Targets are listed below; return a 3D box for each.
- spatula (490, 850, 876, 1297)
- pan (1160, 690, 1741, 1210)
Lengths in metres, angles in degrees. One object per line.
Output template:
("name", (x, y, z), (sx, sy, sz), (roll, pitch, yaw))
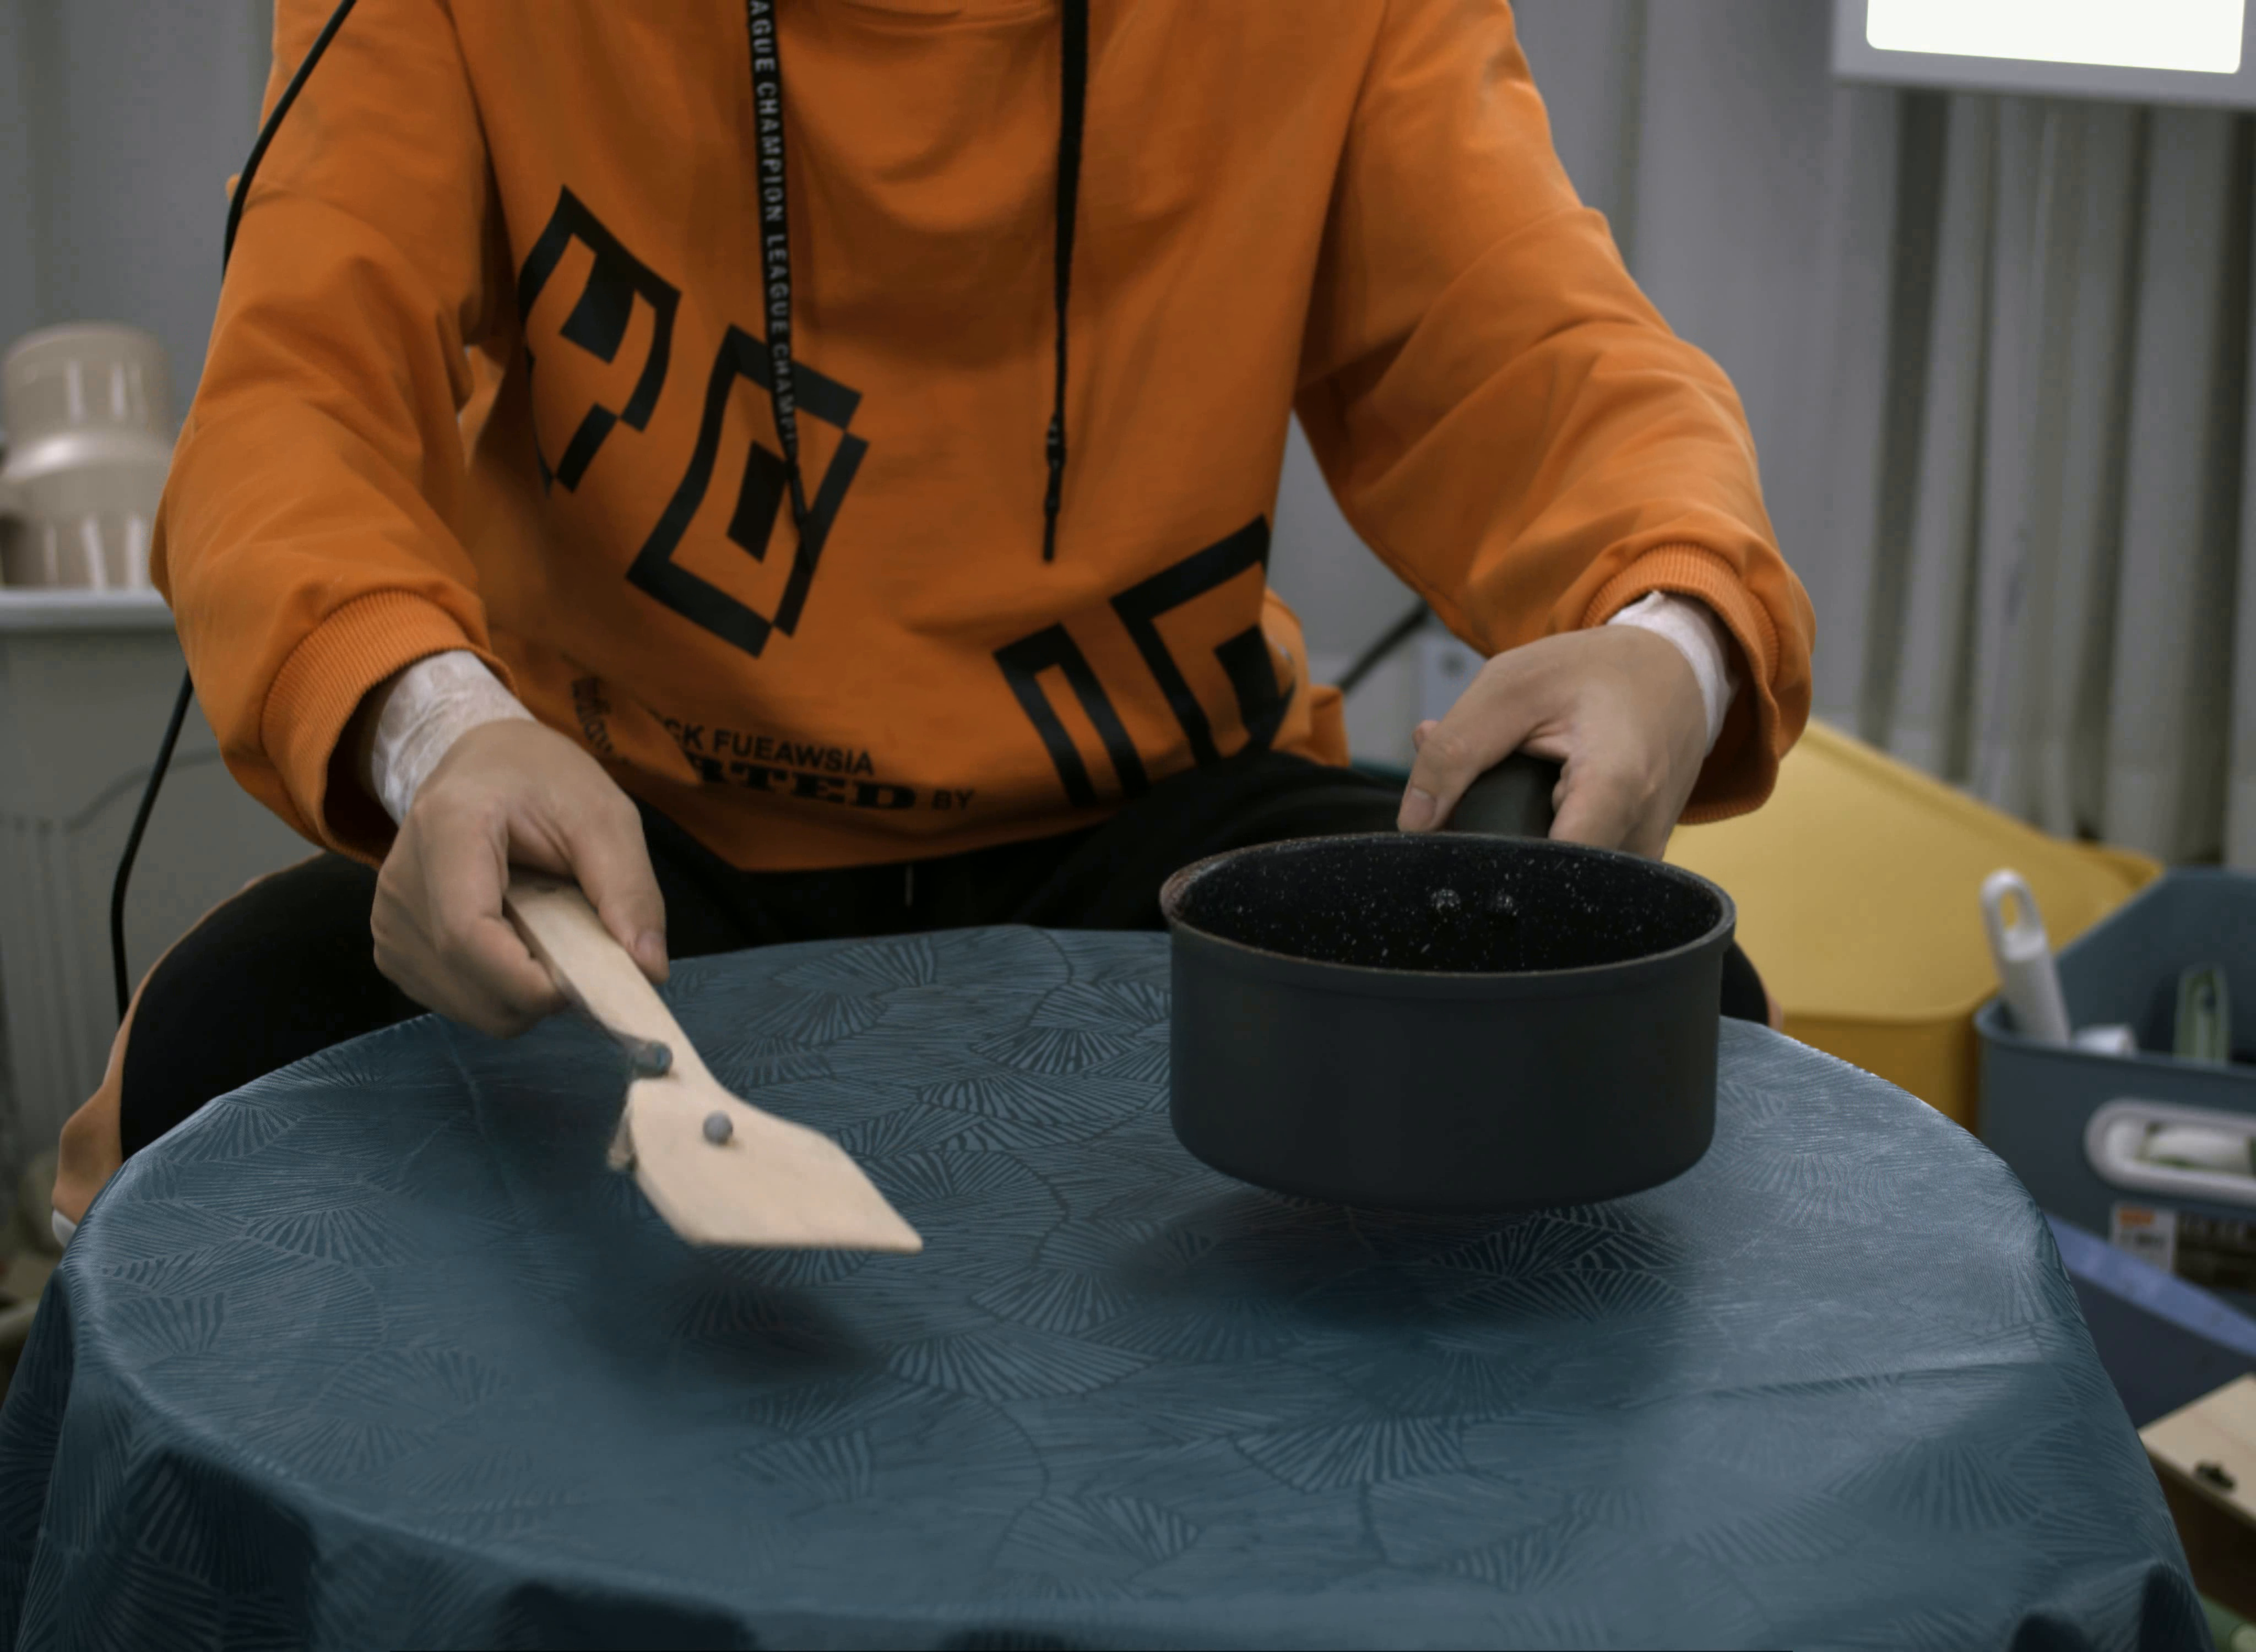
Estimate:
("spatula", (-0.150, 0.071, 1.589), (0.072, 0.011, 0.289), (-2, 26, -20))
("pan", (0.111, 0.035, 1.639), (0.171, 0.087, 0.328), (5, 16, 12))
